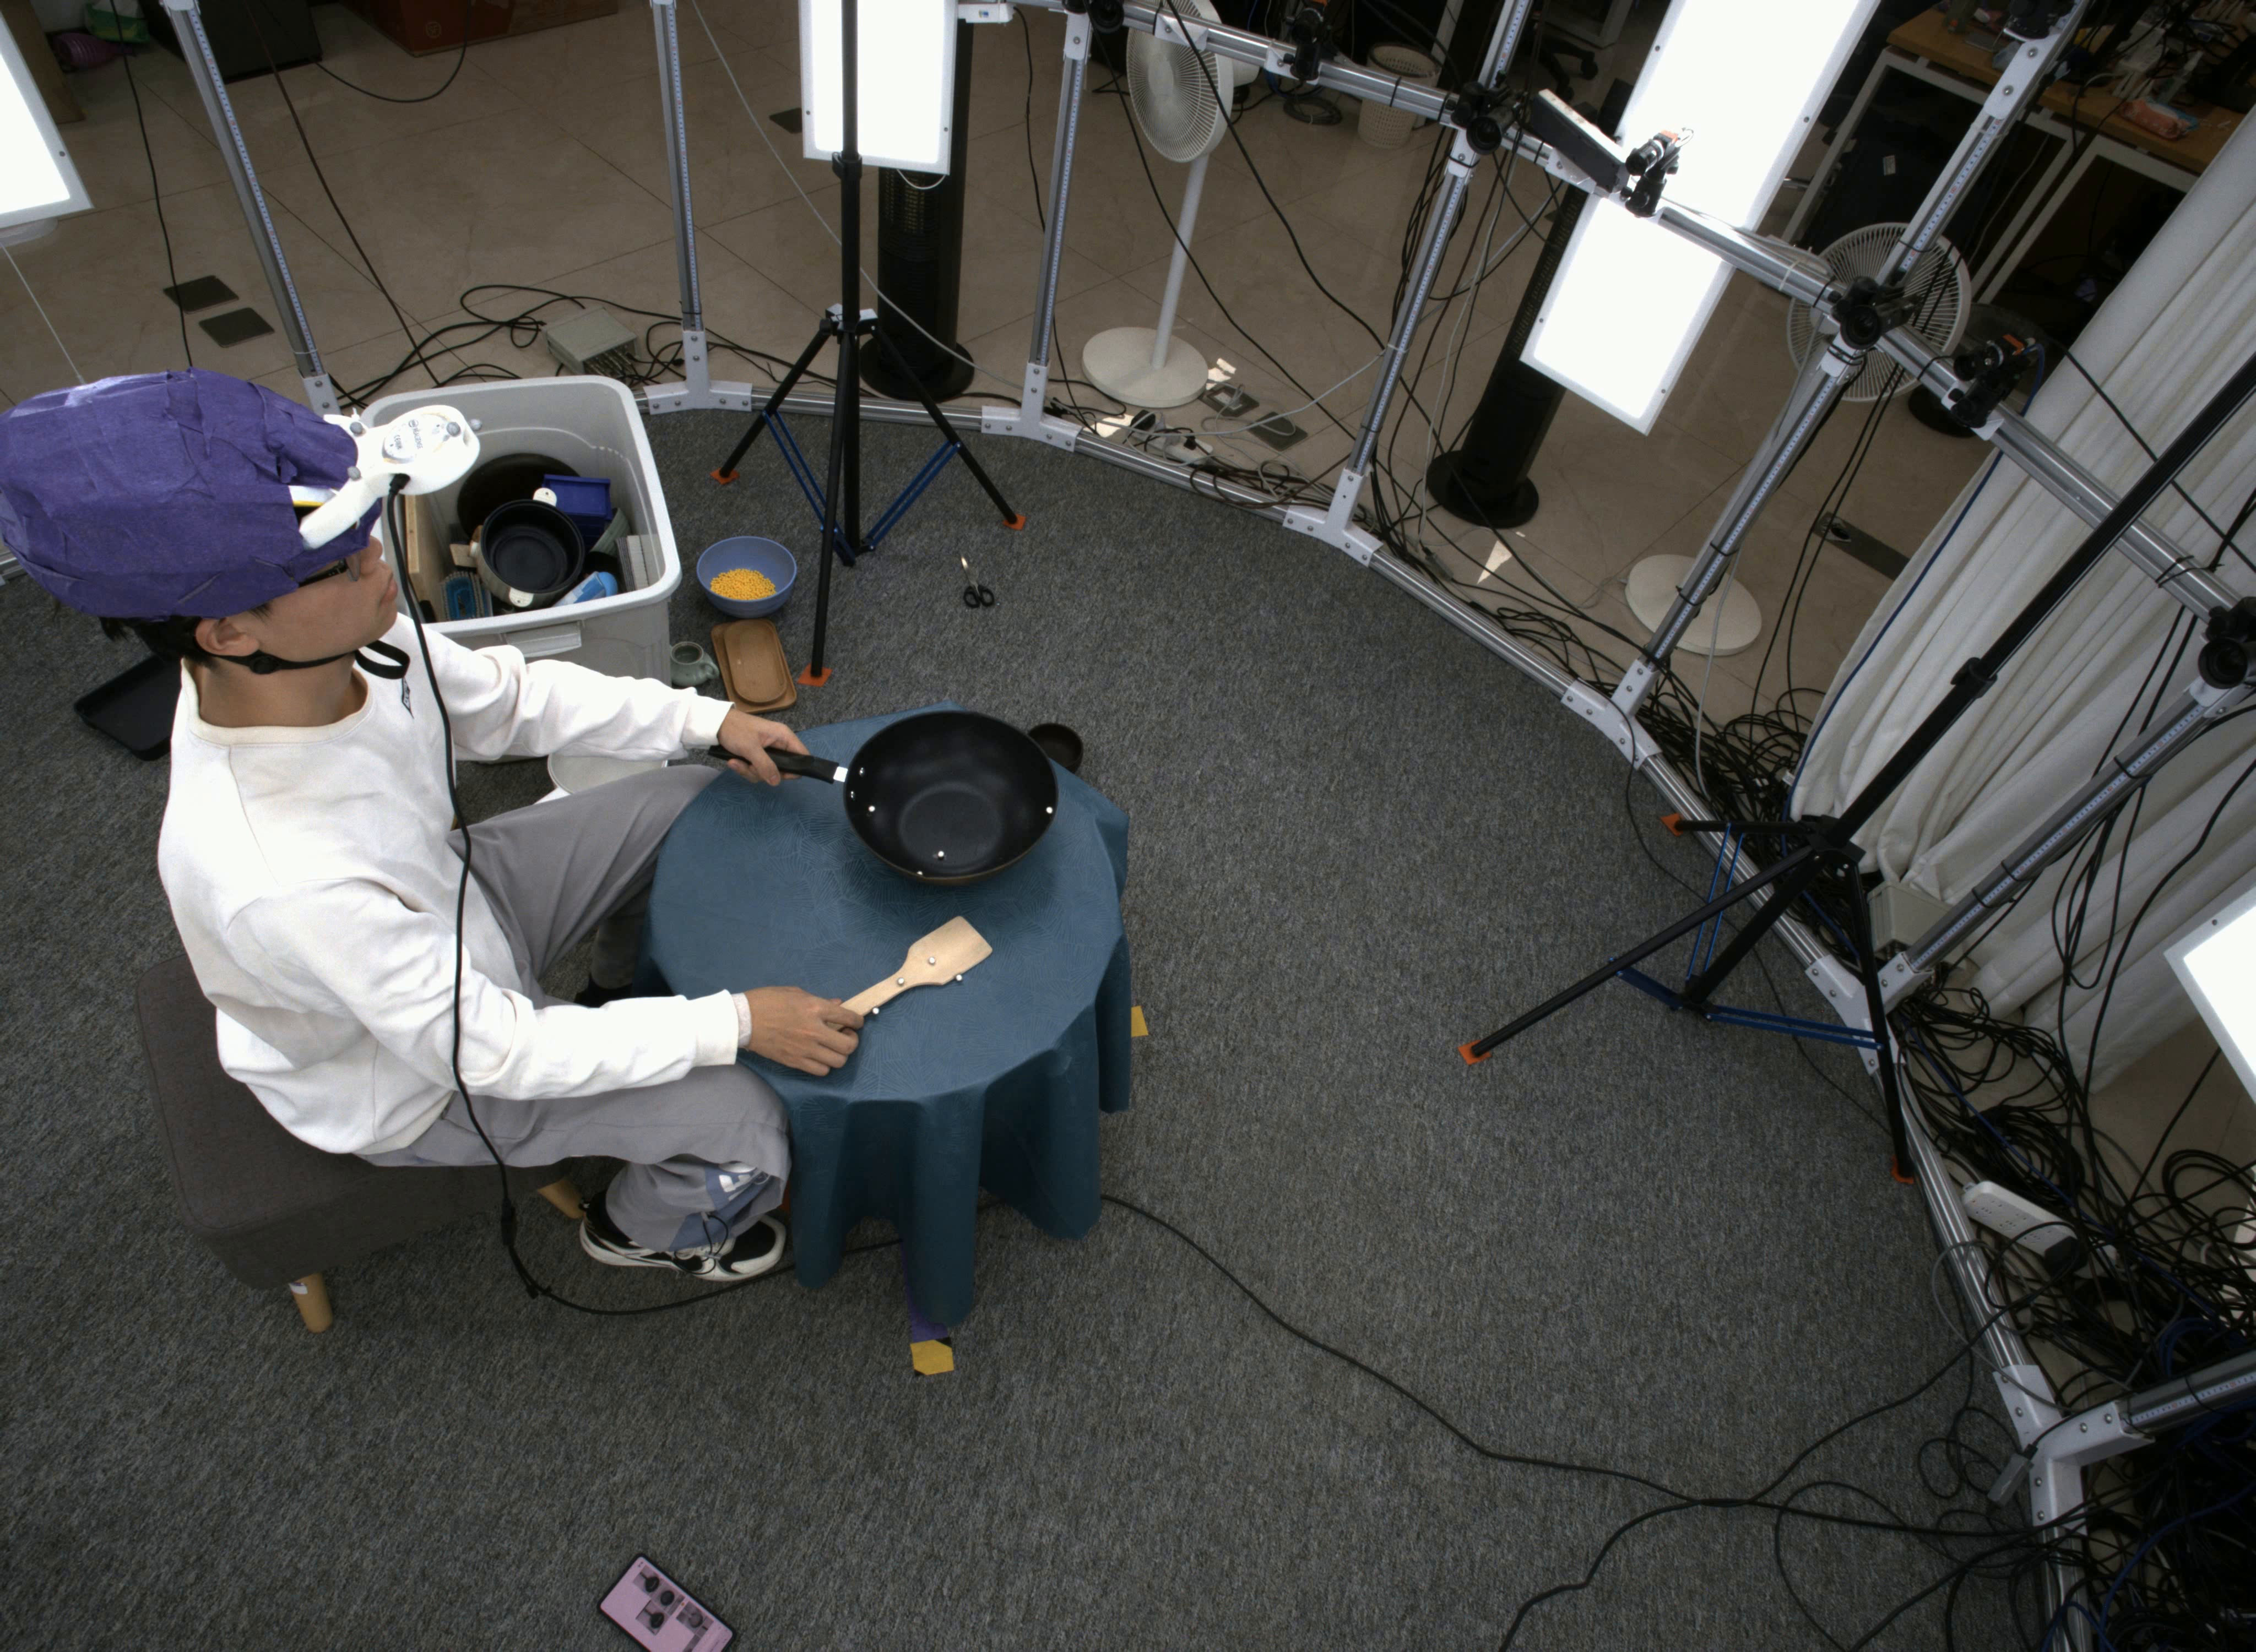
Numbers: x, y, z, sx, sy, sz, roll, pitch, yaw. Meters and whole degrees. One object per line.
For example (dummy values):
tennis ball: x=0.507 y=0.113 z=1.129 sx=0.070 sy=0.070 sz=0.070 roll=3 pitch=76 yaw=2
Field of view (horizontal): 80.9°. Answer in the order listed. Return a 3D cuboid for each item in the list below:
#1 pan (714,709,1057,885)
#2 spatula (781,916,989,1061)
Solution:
pan: x=-0.322 y=-0.042 z=1.727 sx=0.458 sy=0.089 sz=0.284 roll=10 pitch=52 yaw=0
spatula: x=-0.299 y=0.202 z=1.598 sx=0.294 sy=0.011 sz=0.071 roll=-32 pitch=69 yaw=-35
